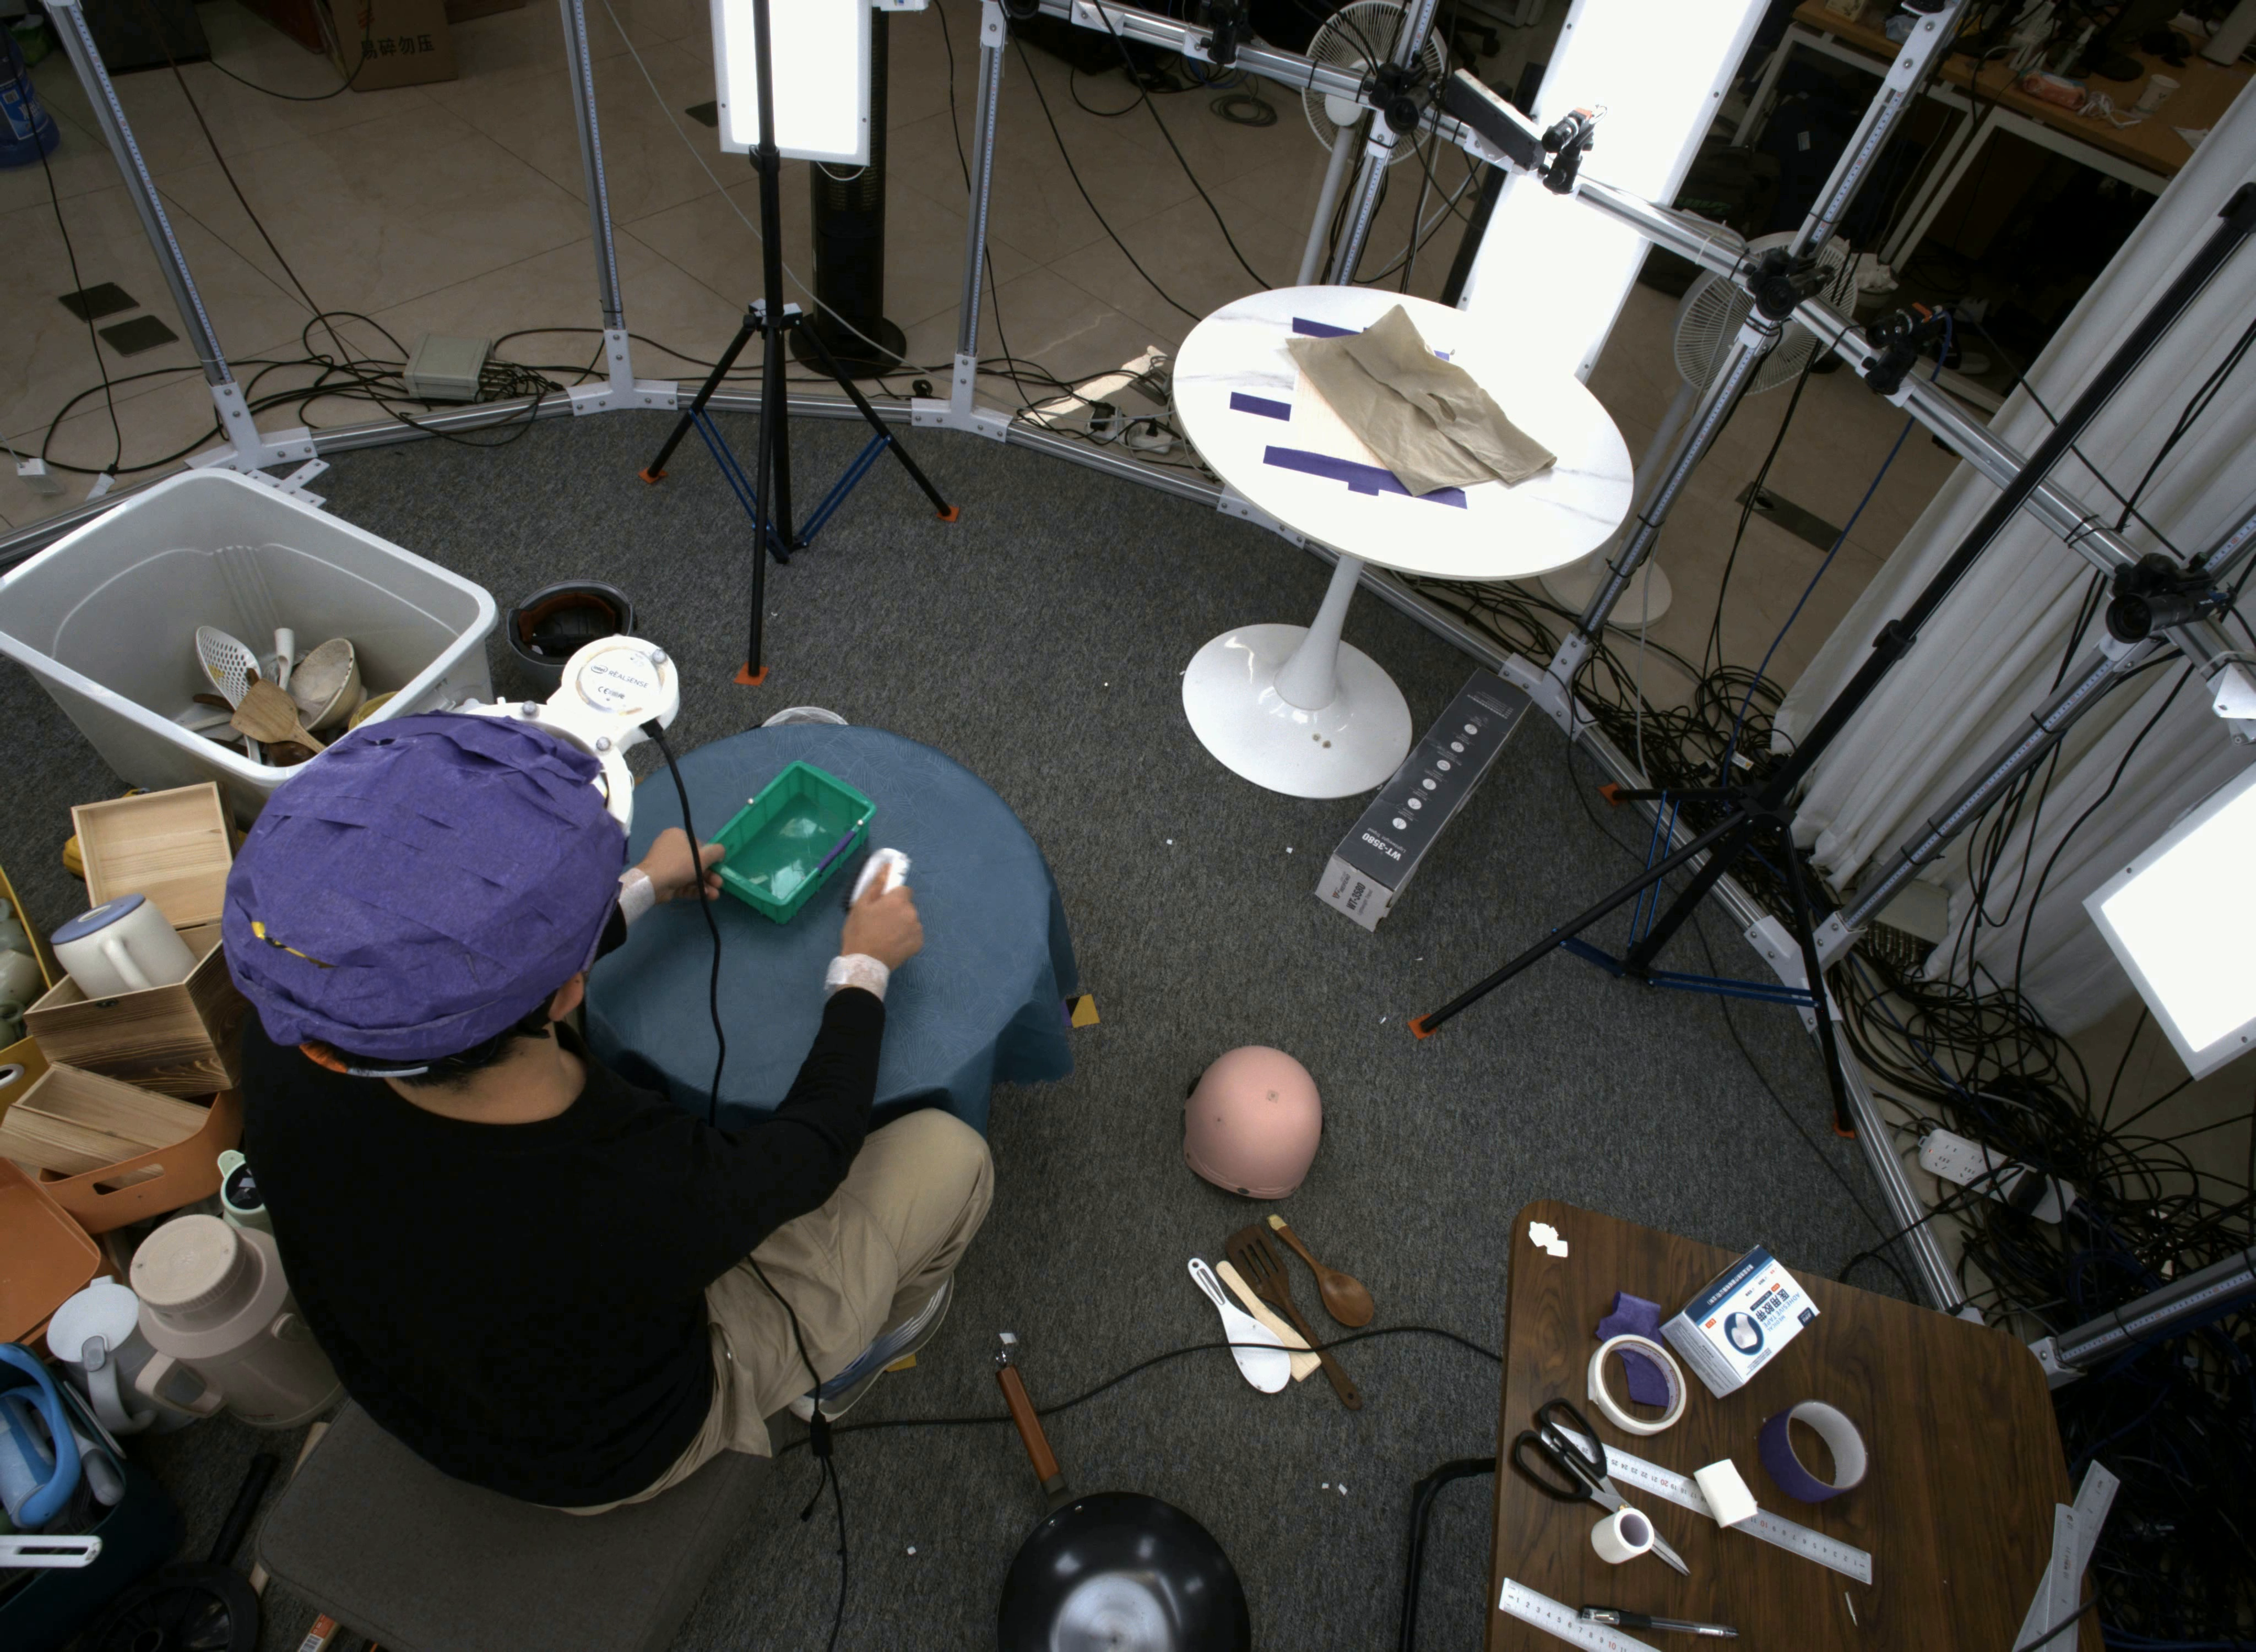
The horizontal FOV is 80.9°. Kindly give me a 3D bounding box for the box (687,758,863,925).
[{"bbox_3d":[-0.449,0.020,1.656,0.137,0.066,0.209,29,51,6],"label":"box"}]

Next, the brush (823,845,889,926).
[{"bbox_3d":[-0.324,0.072,1.582,0.052,0.070,0.099,33,72,-37],"label":"brush"}]
